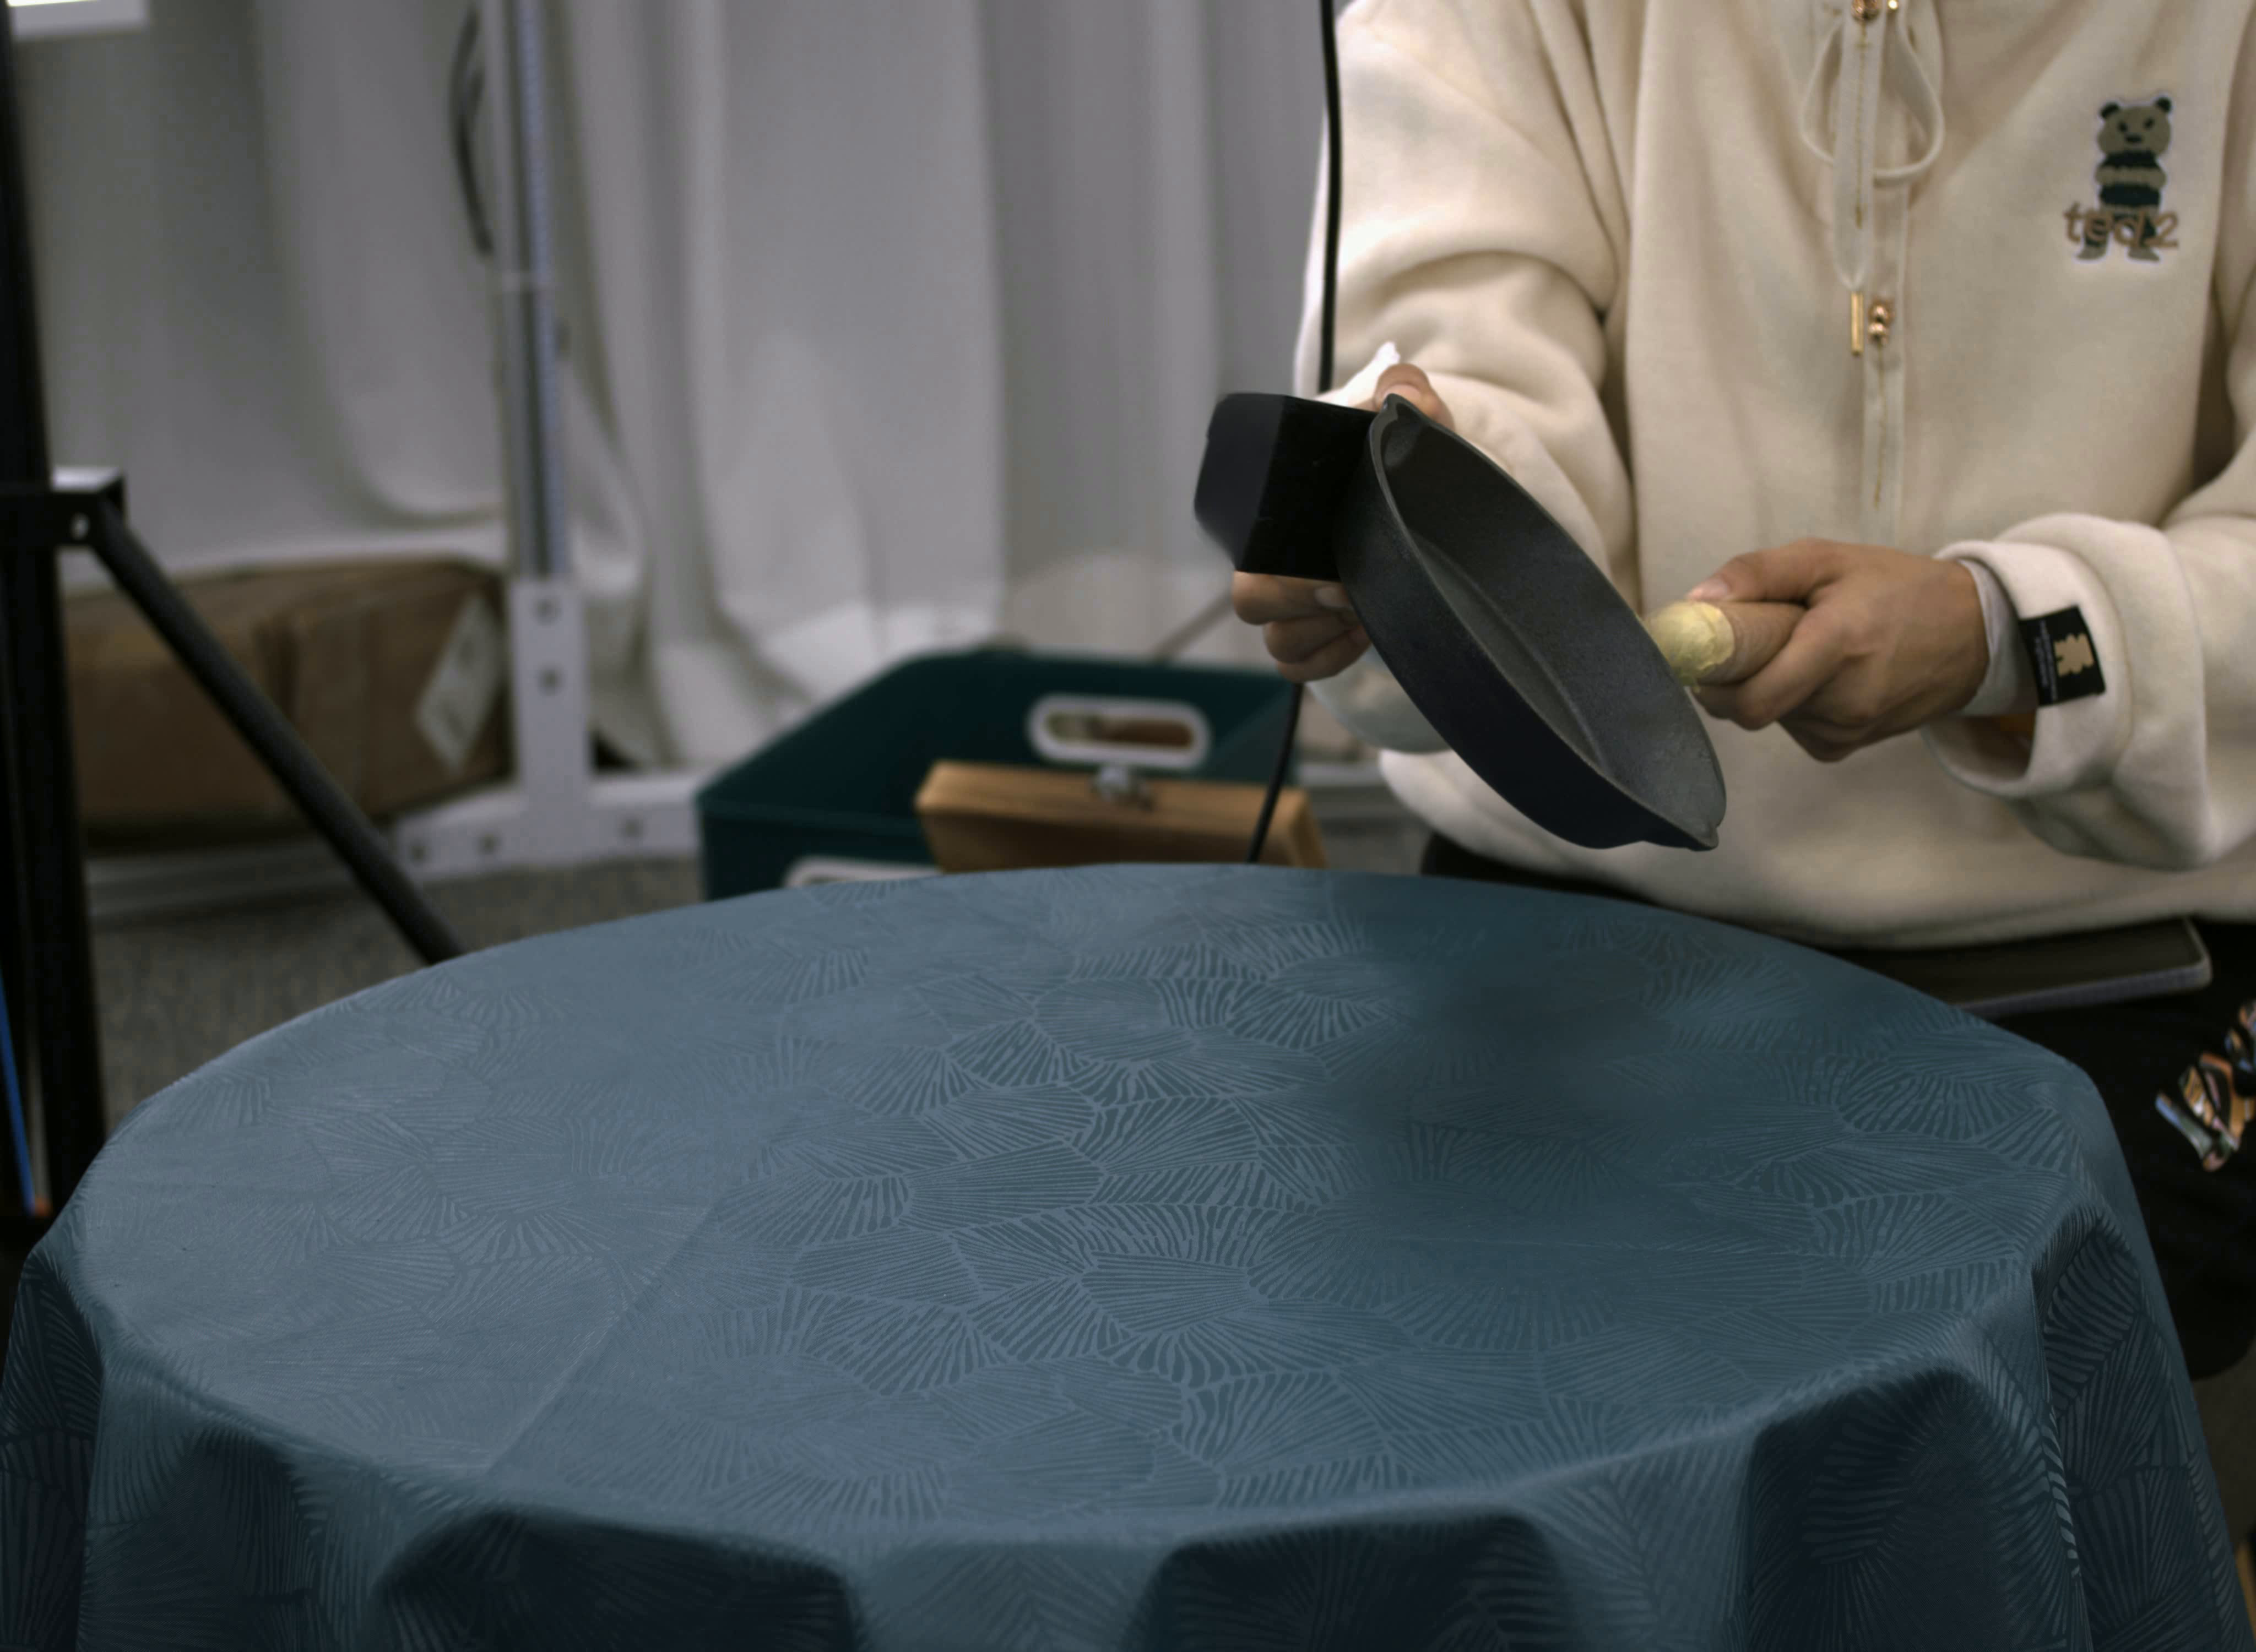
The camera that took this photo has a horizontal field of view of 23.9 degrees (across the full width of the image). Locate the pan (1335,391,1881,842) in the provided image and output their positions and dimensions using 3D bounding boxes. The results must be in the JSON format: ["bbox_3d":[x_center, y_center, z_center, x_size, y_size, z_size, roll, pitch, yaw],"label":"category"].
[{"bbox_3d":[0.159,-0.055,1.641,0.050,0.171,0.317,-41,-21,21],"label":"pan"}]

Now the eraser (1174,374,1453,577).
[{"bbox_3d":[0.057,-0.103,1.594,0.031,0.054,0.123,19,8,24],"label":"eraser"}]
